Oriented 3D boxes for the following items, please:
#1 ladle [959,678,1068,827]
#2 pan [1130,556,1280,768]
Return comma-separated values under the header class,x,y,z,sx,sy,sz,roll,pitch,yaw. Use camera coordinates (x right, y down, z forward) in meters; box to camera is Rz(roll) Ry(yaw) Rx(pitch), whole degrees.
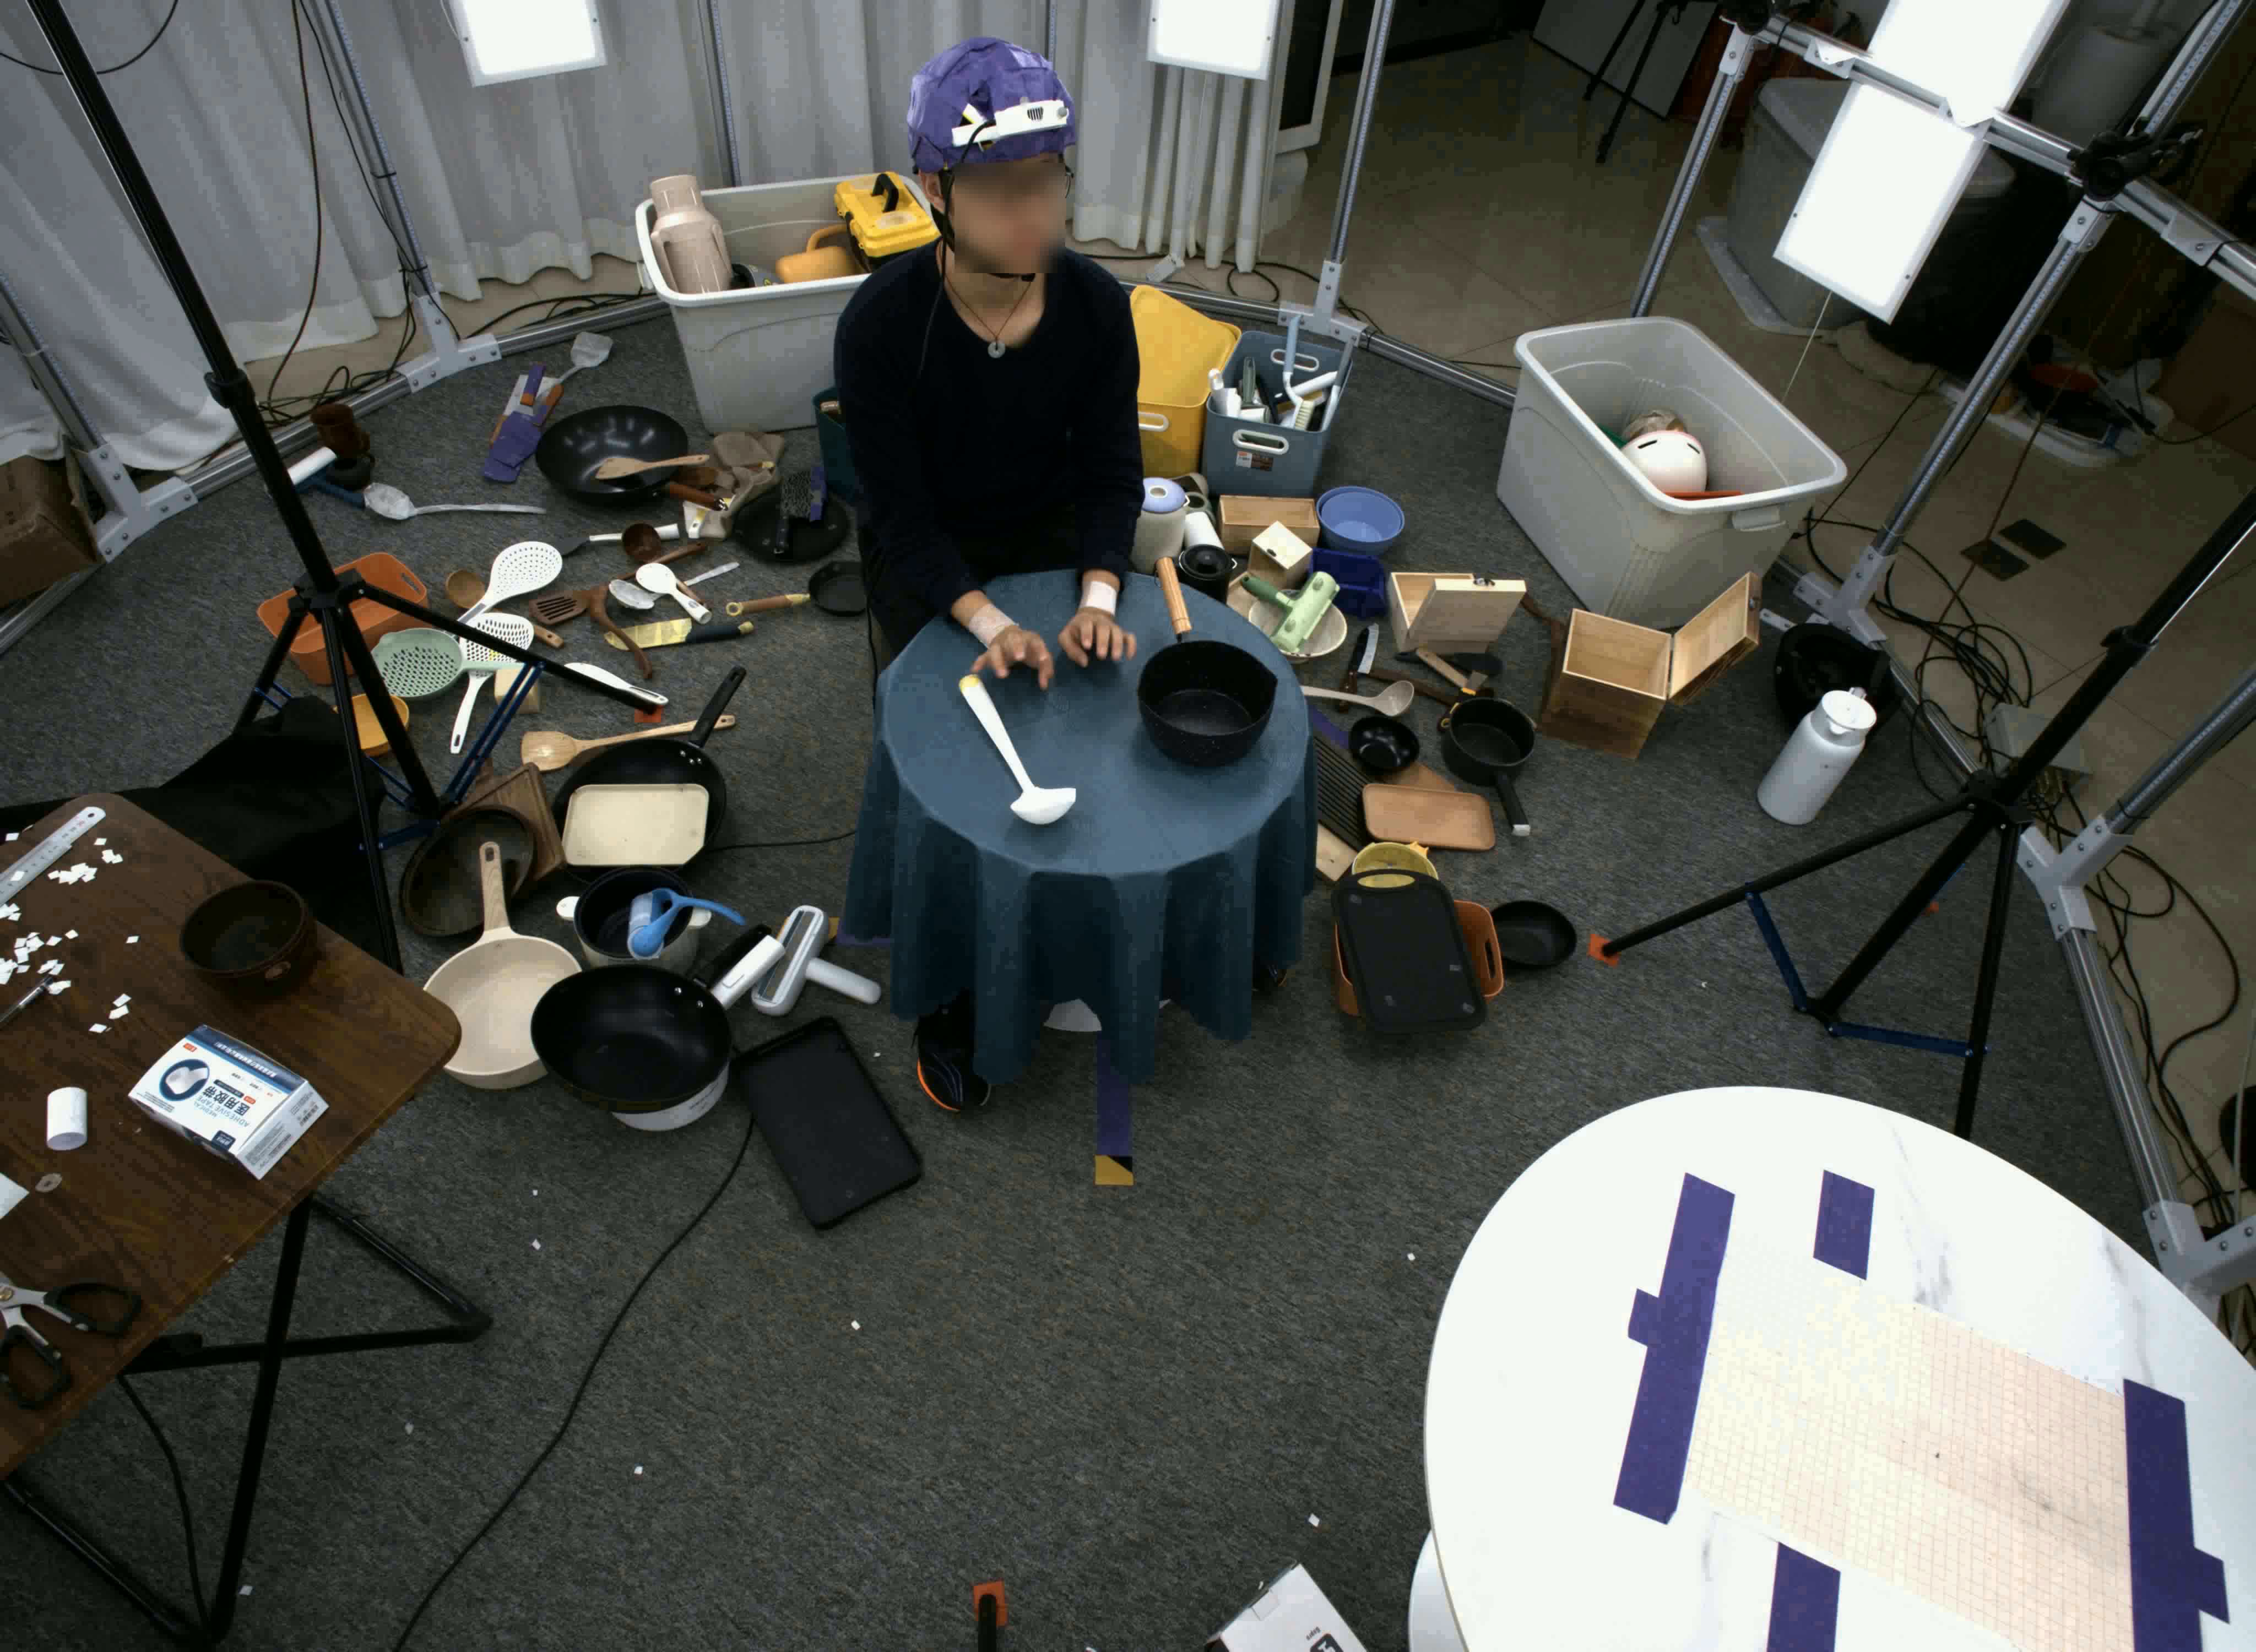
class,x,y,z,sx,sy,sz,roll,pitch,yaw
ladle,-0.164,-0.107,1.709,0.090,0.068,0.300,-21,52,-12
pan,0.086,-0.231,1.805,0.207,0.105,0.351,-9,51,-10
